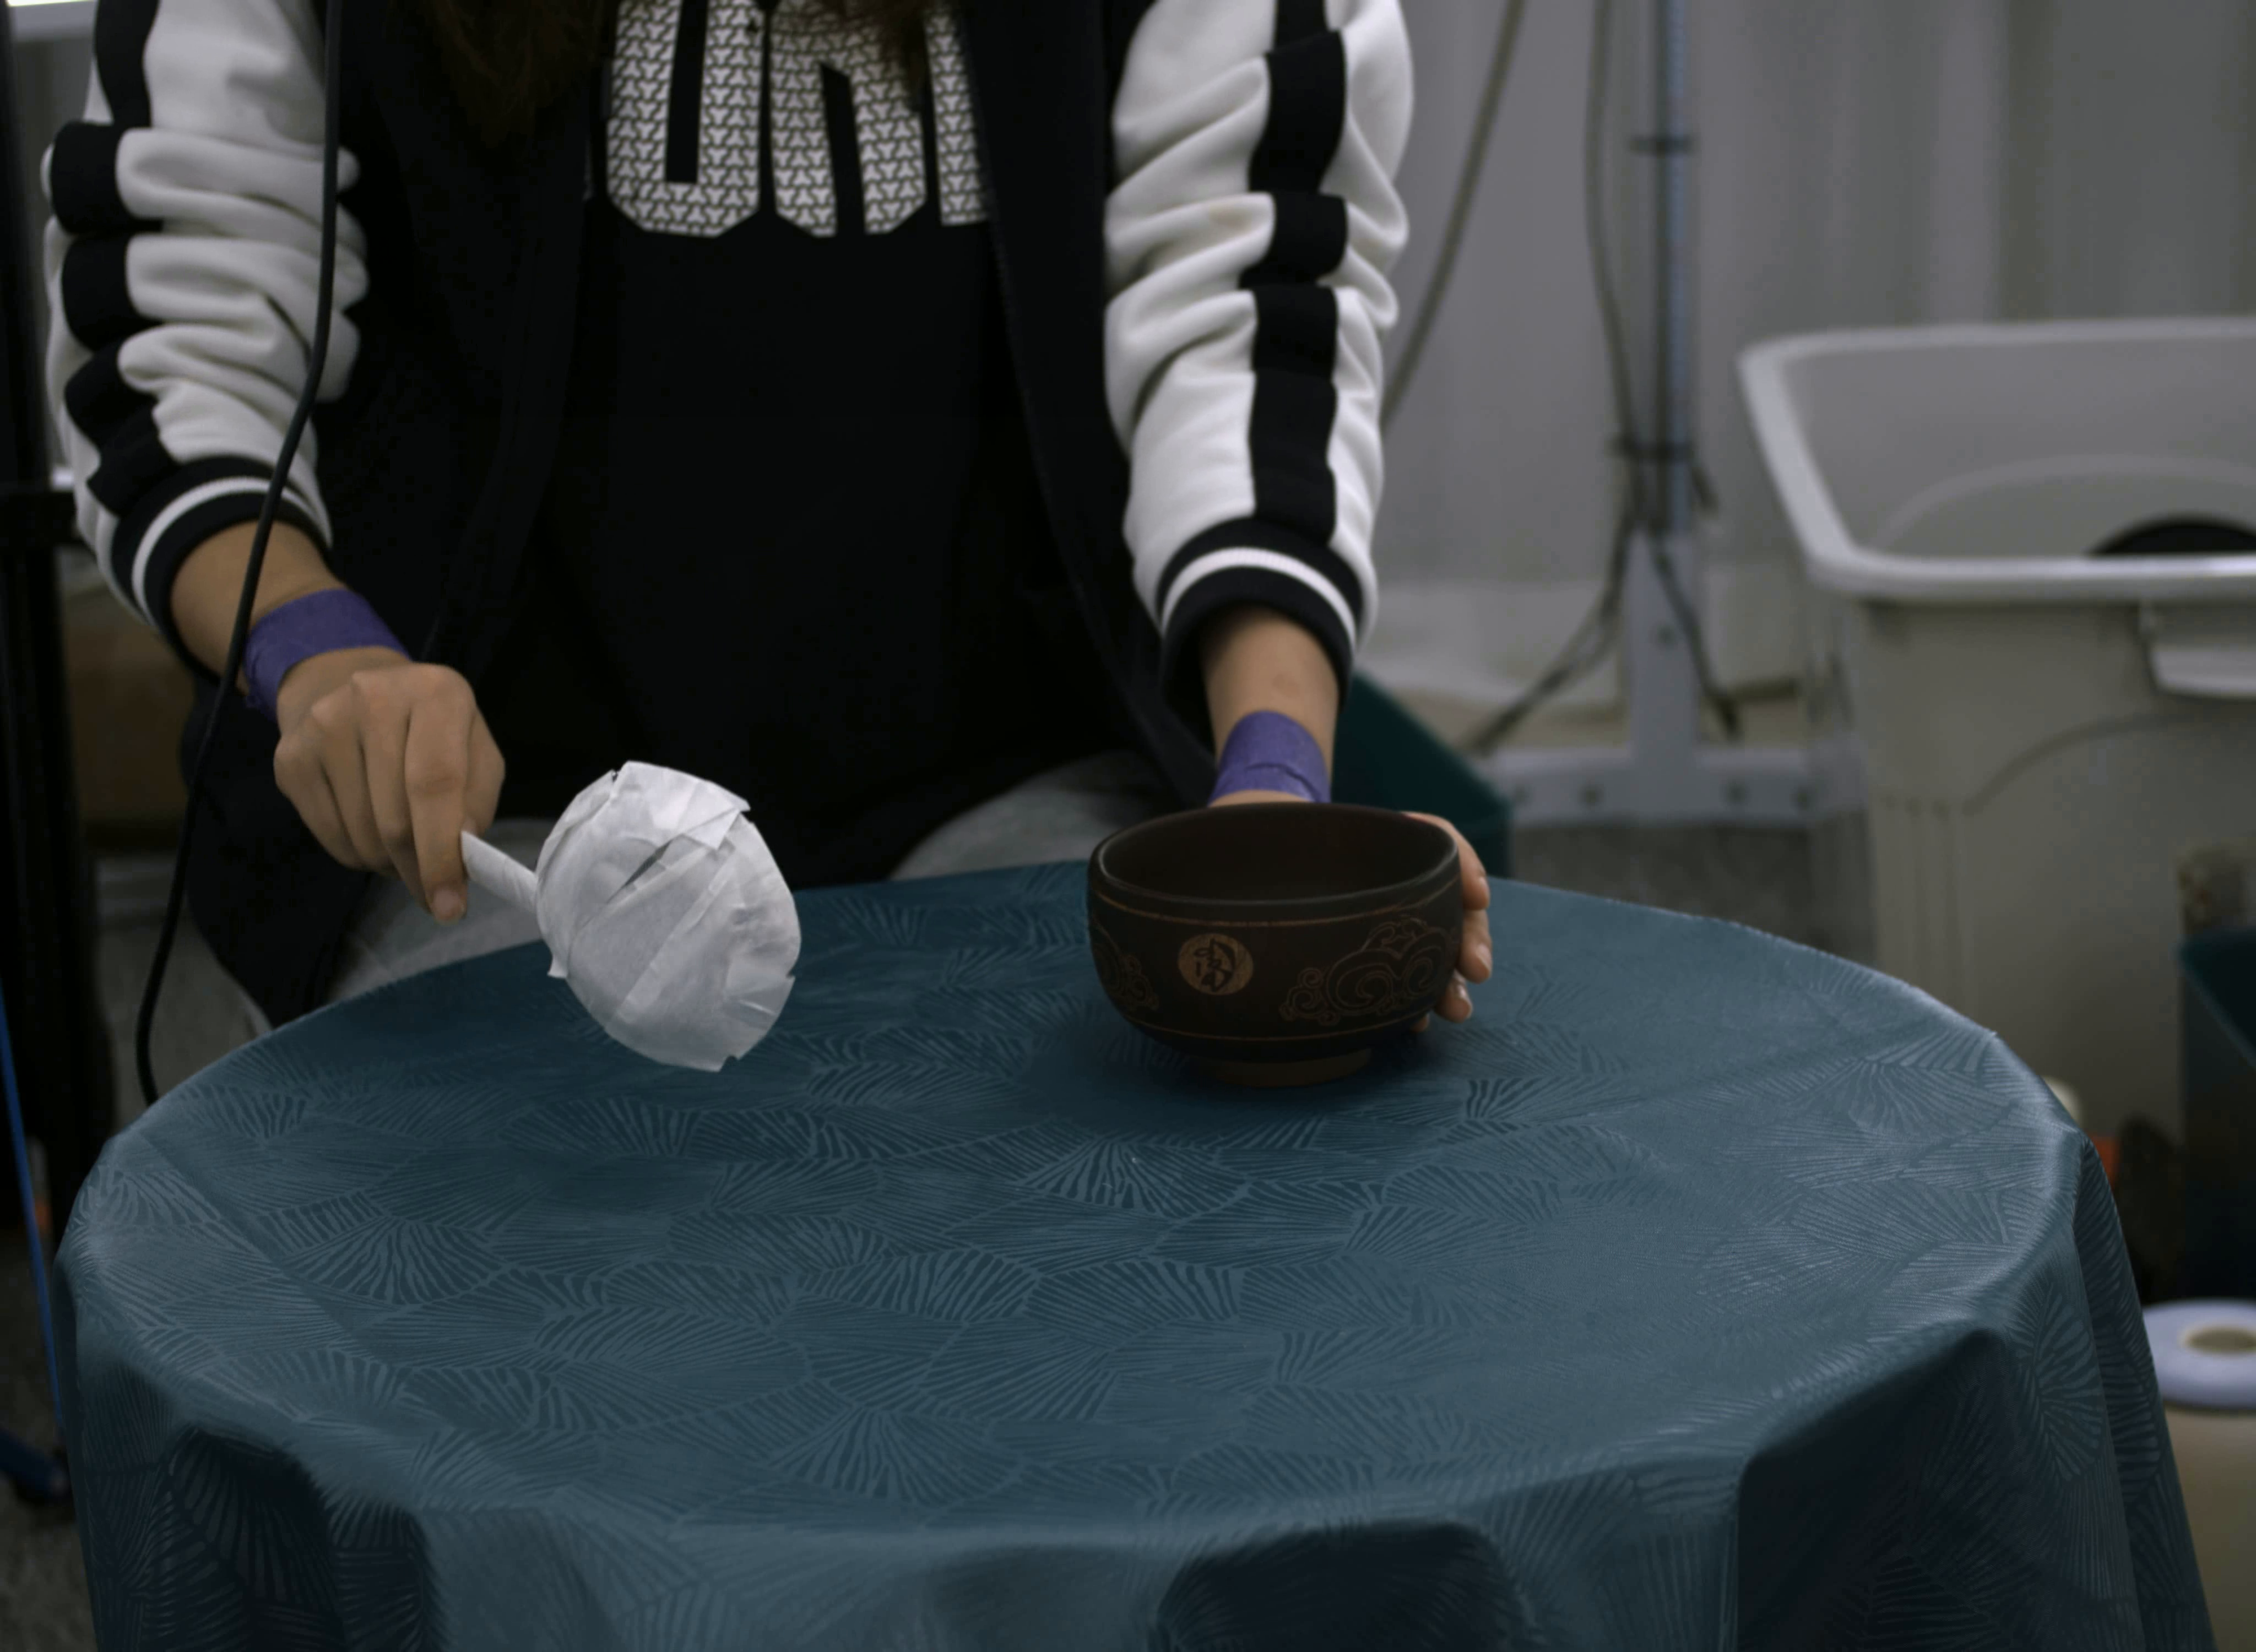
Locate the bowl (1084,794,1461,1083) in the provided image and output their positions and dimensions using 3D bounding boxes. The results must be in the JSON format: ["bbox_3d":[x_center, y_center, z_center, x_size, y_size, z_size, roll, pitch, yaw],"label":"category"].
[{"bbox_3d":[0.046,0.039,1.661,0.117,0.070,0.118,-2,16,-1],"label":"bowl"}]

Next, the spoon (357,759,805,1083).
[{"bbox_3d":[-0.177,0.015,1.685,0.058,0.101,0.282,-4,10,-23],"label":"spoon"}]
